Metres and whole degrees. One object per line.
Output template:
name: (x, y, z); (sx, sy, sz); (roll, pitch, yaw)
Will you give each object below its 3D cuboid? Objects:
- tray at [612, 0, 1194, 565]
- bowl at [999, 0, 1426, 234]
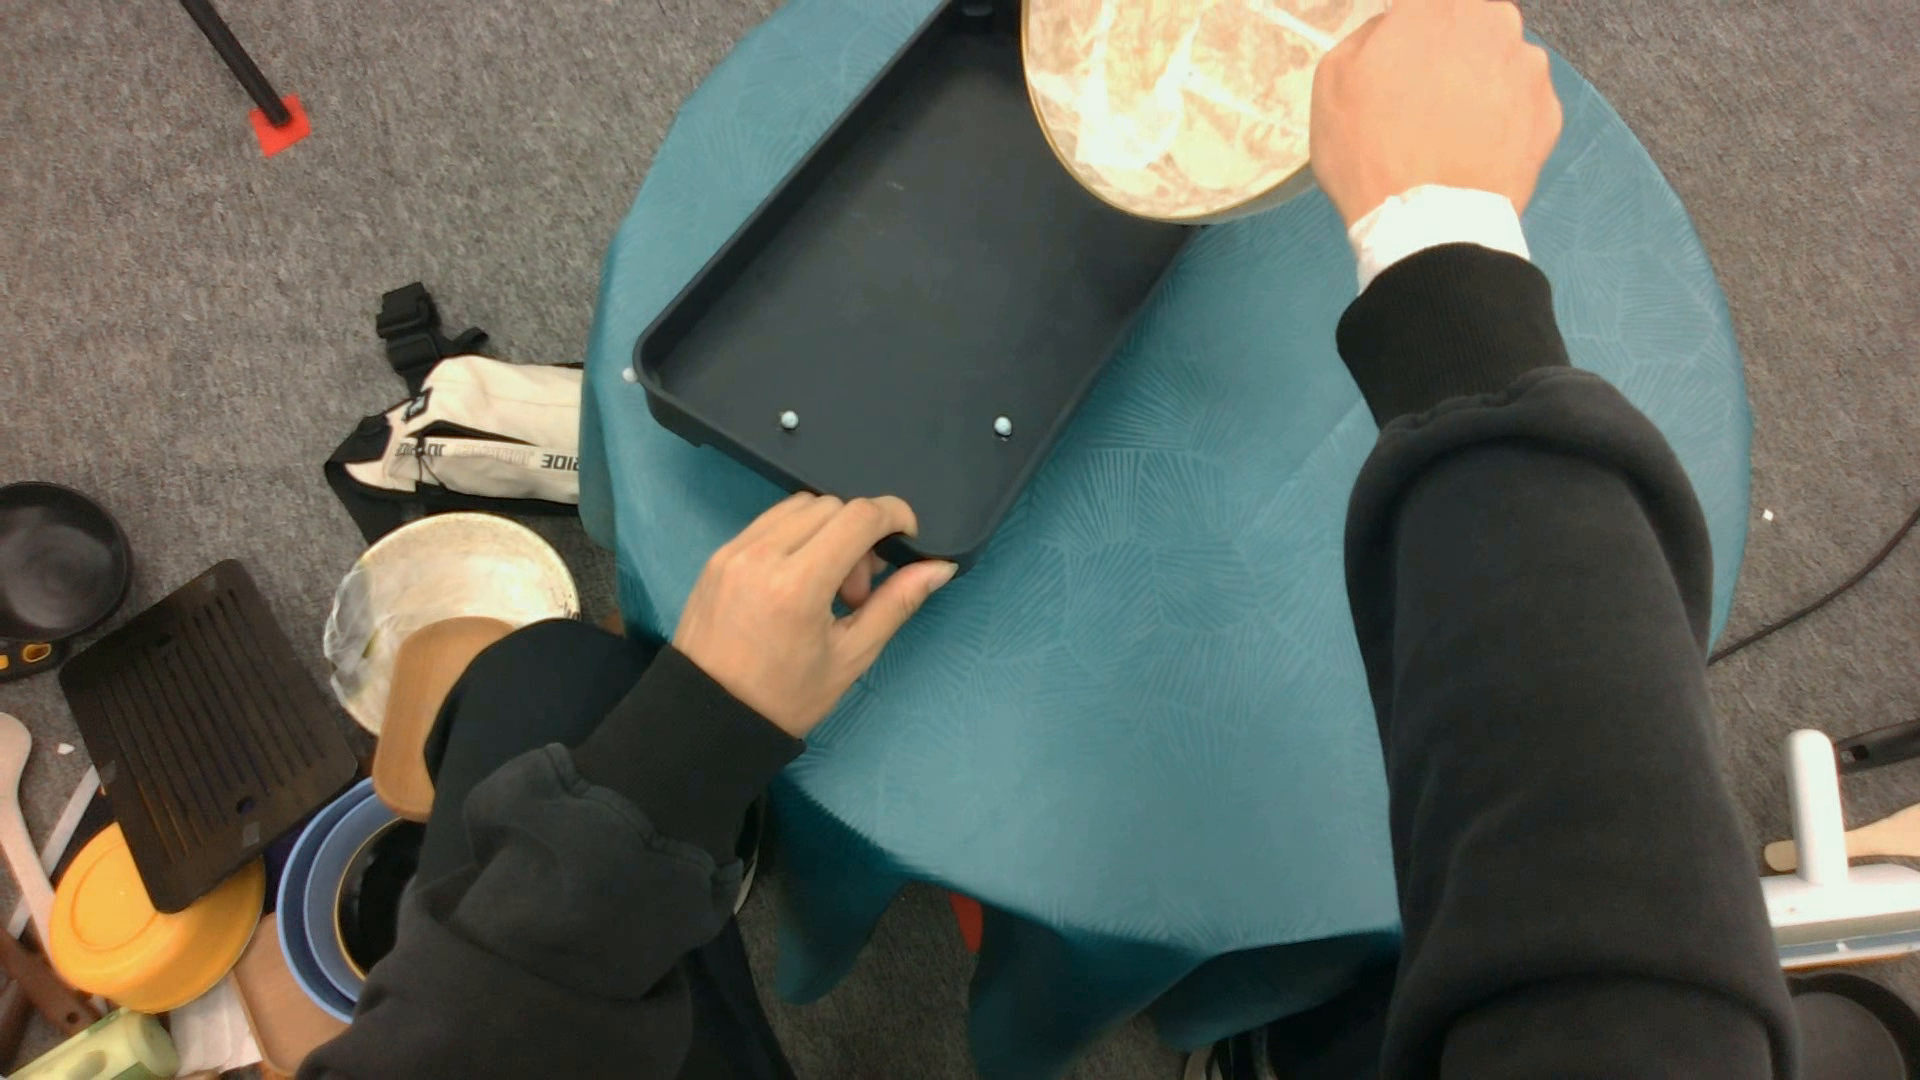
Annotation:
tray: (-0.006, -0.147, 0.684); (0.184, 0.037, 0.319); (32, 62, 9)
bowl: (0.125, -0.245, 0.629); (0.095, 0.213, 0.215); (-8, 65, -49)
